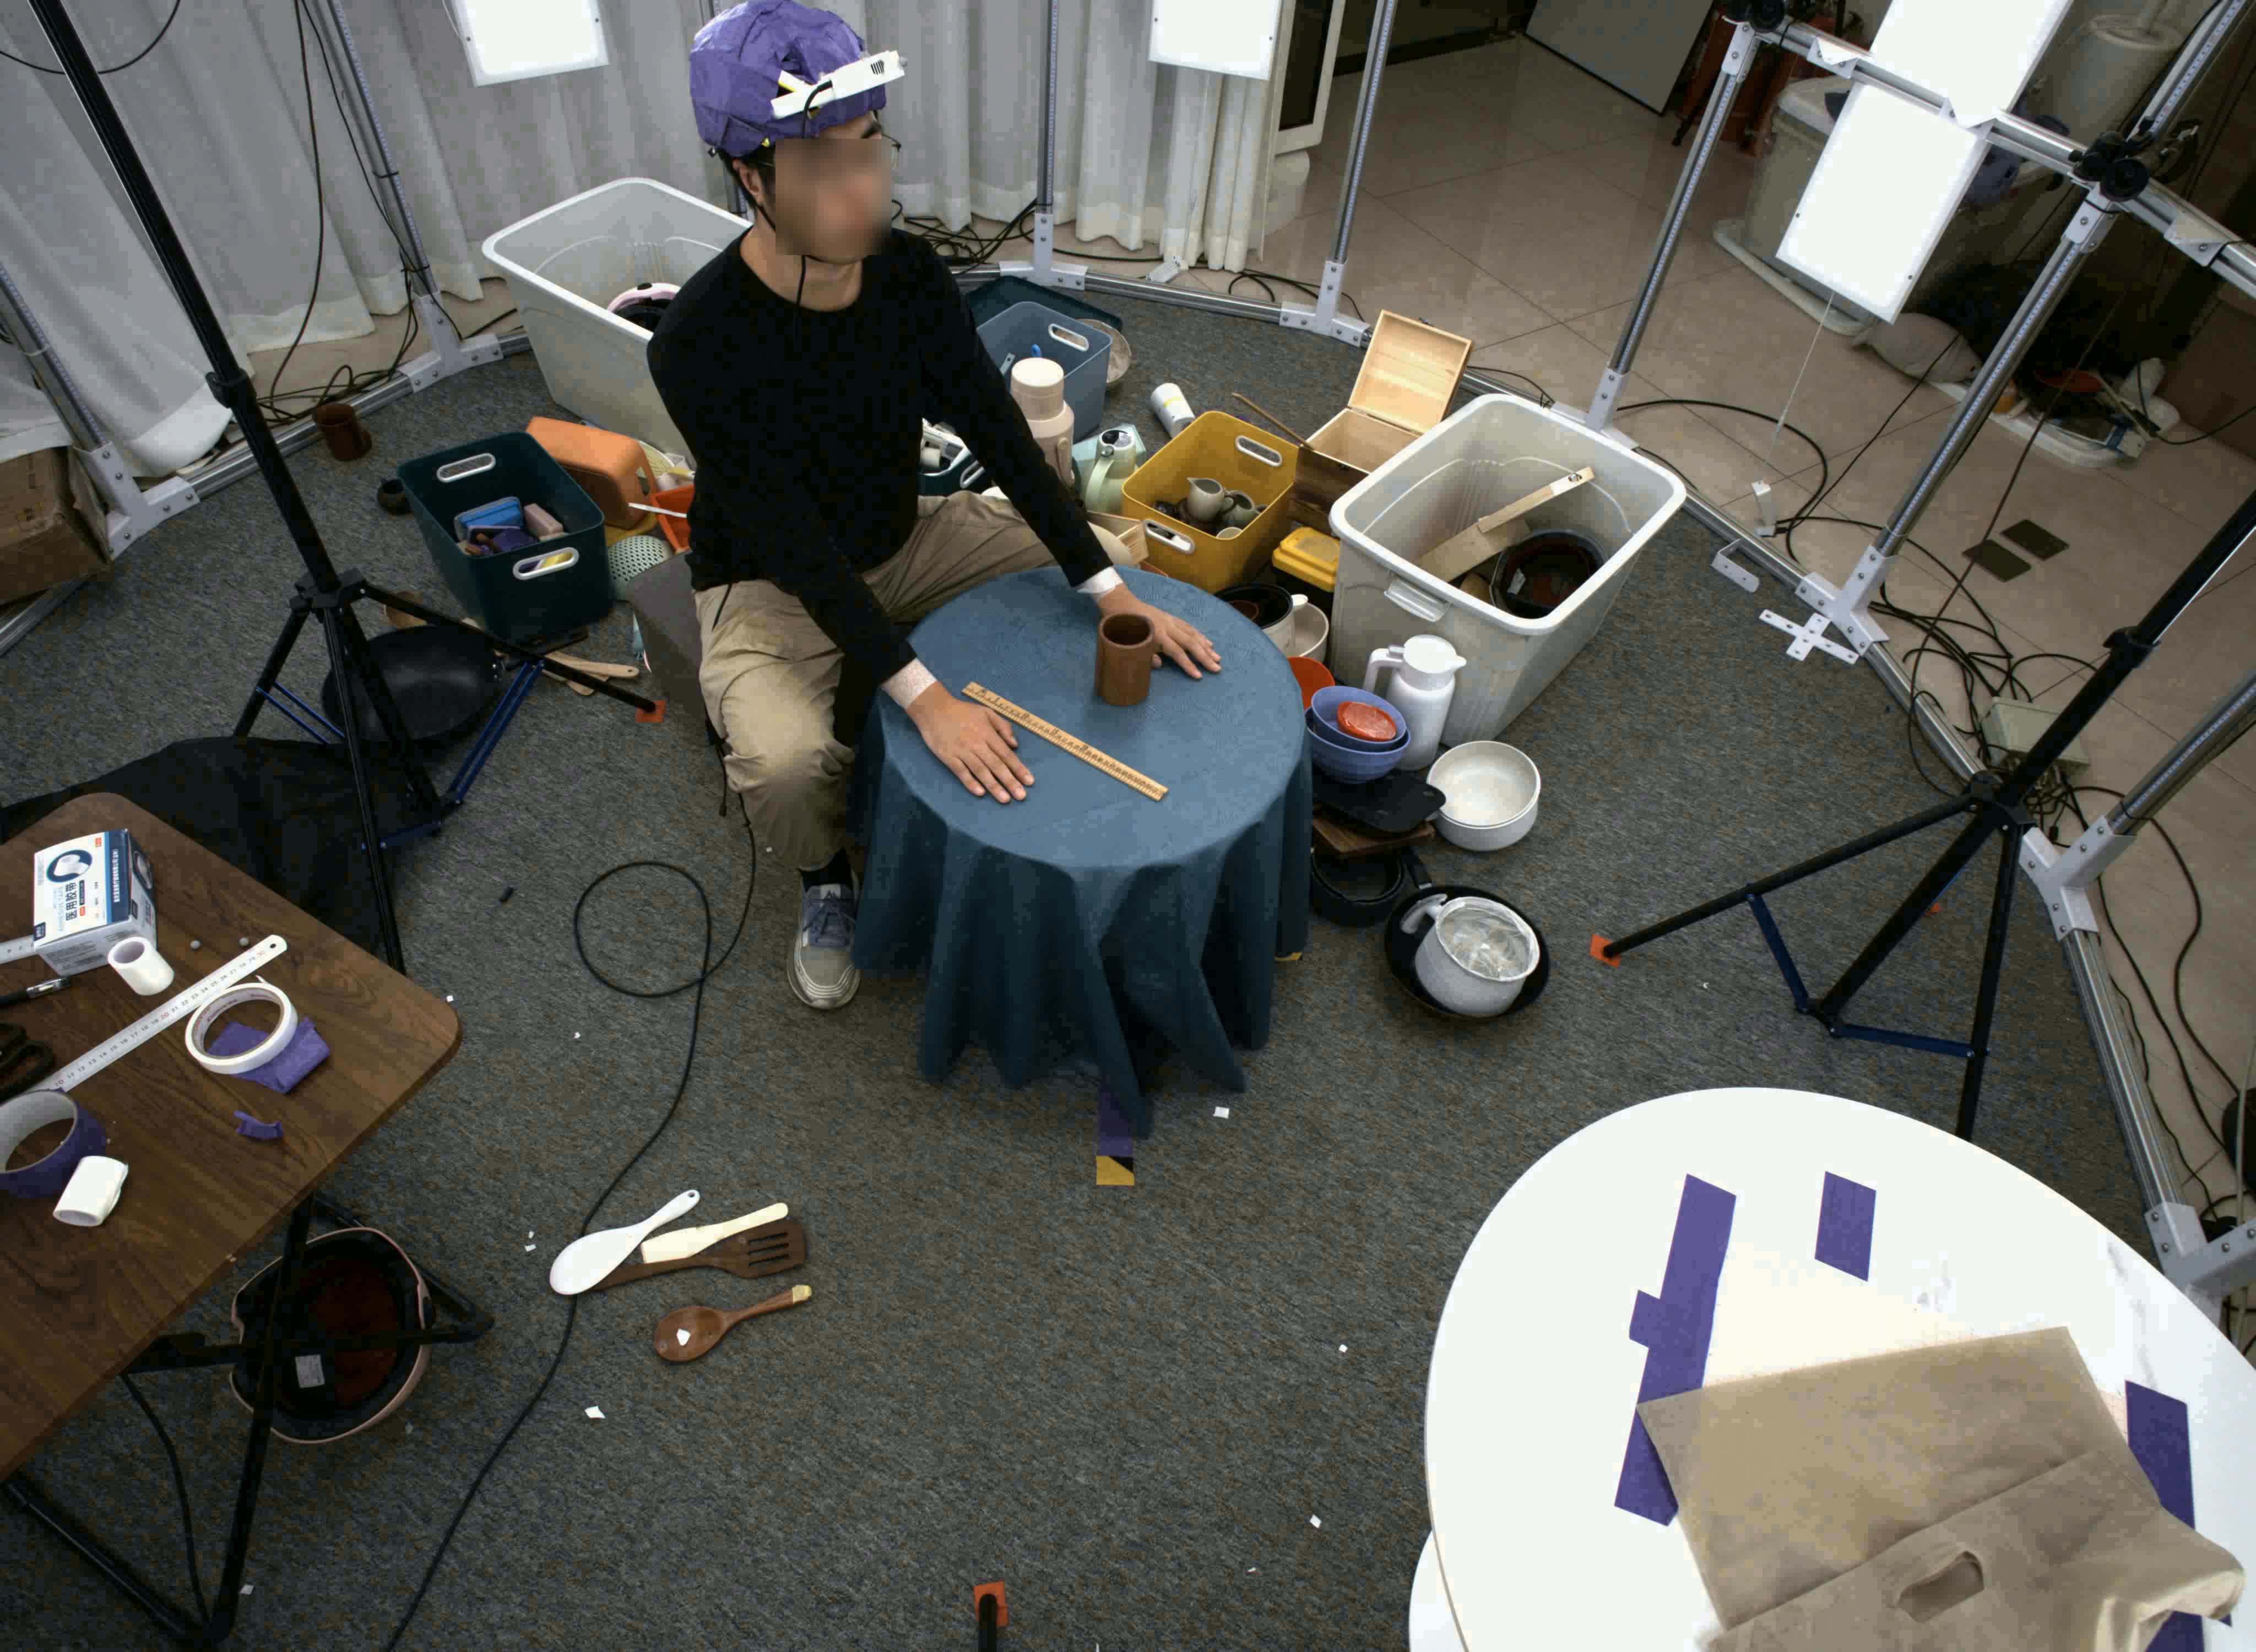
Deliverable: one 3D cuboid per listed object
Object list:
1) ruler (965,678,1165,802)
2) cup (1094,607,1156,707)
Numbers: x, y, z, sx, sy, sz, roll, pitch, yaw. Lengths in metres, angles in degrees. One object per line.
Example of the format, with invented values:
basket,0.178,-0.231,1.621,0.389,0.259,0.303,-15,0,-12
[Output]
ruler,-0.091,-0.123,1.764,0.335,0.021,0.028,32,50,21
cup,-0.005,-0.236,1.799,0.087,0.115,0.090,2,48,-3
